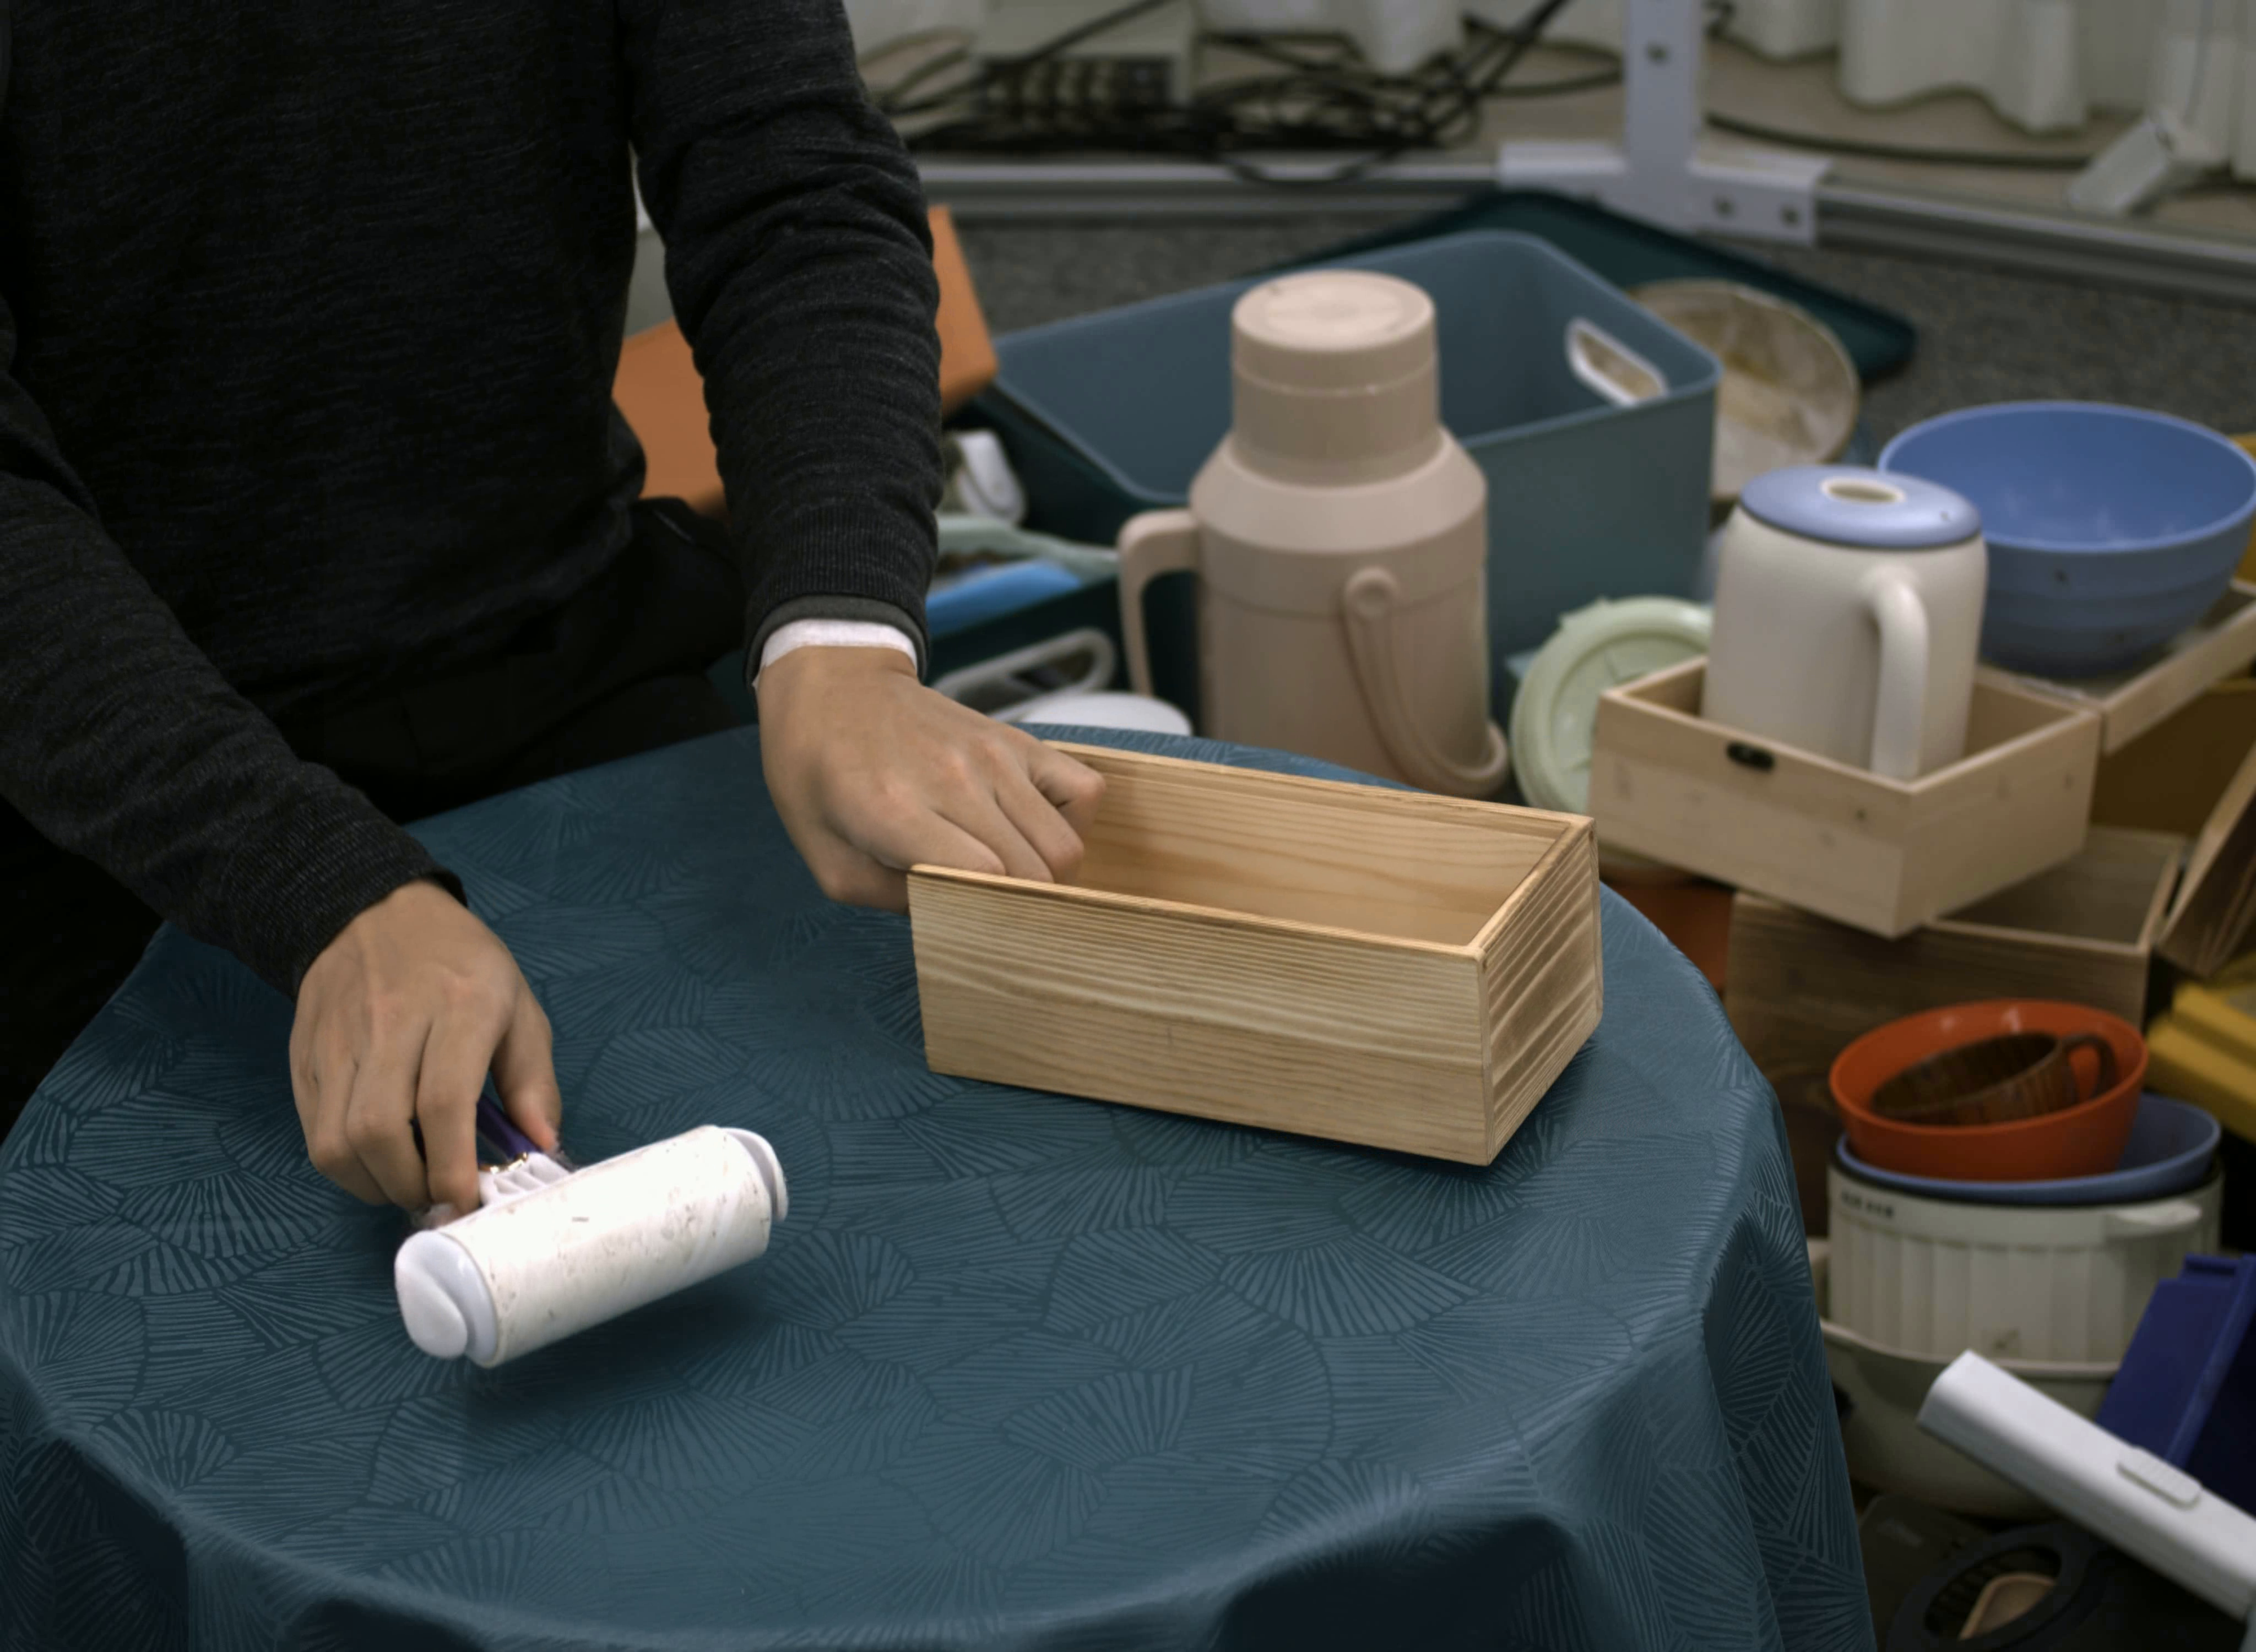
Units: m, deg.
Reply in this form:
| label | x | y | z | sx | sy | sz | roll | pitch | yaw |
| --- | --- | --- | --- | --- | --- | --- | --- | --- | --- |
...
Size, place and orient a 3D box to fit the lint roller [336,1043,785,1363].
| label | x | y | z | sx | sy | sz | roll | pitch | yaw |
| --- | --- | --- | --- | --- | --- | --- | --- | --- | --- |
| lint roller | -0.204 | 0.102 | 1.817 | 0.134 | 0.049 | 0.182 | -20 | 39 | -29 |

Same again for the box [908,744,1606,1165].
| label | x | y | z | sx | sy | sz | roll | pitch | yaw |
| --- | --- | --- | --- | --- | --- | --- | --- | --- | --- |
| box | 0.045 | 0.042 | 1.919 | 0.210 | 0.079 | 0.109 | 7 | 29 | 25 |
